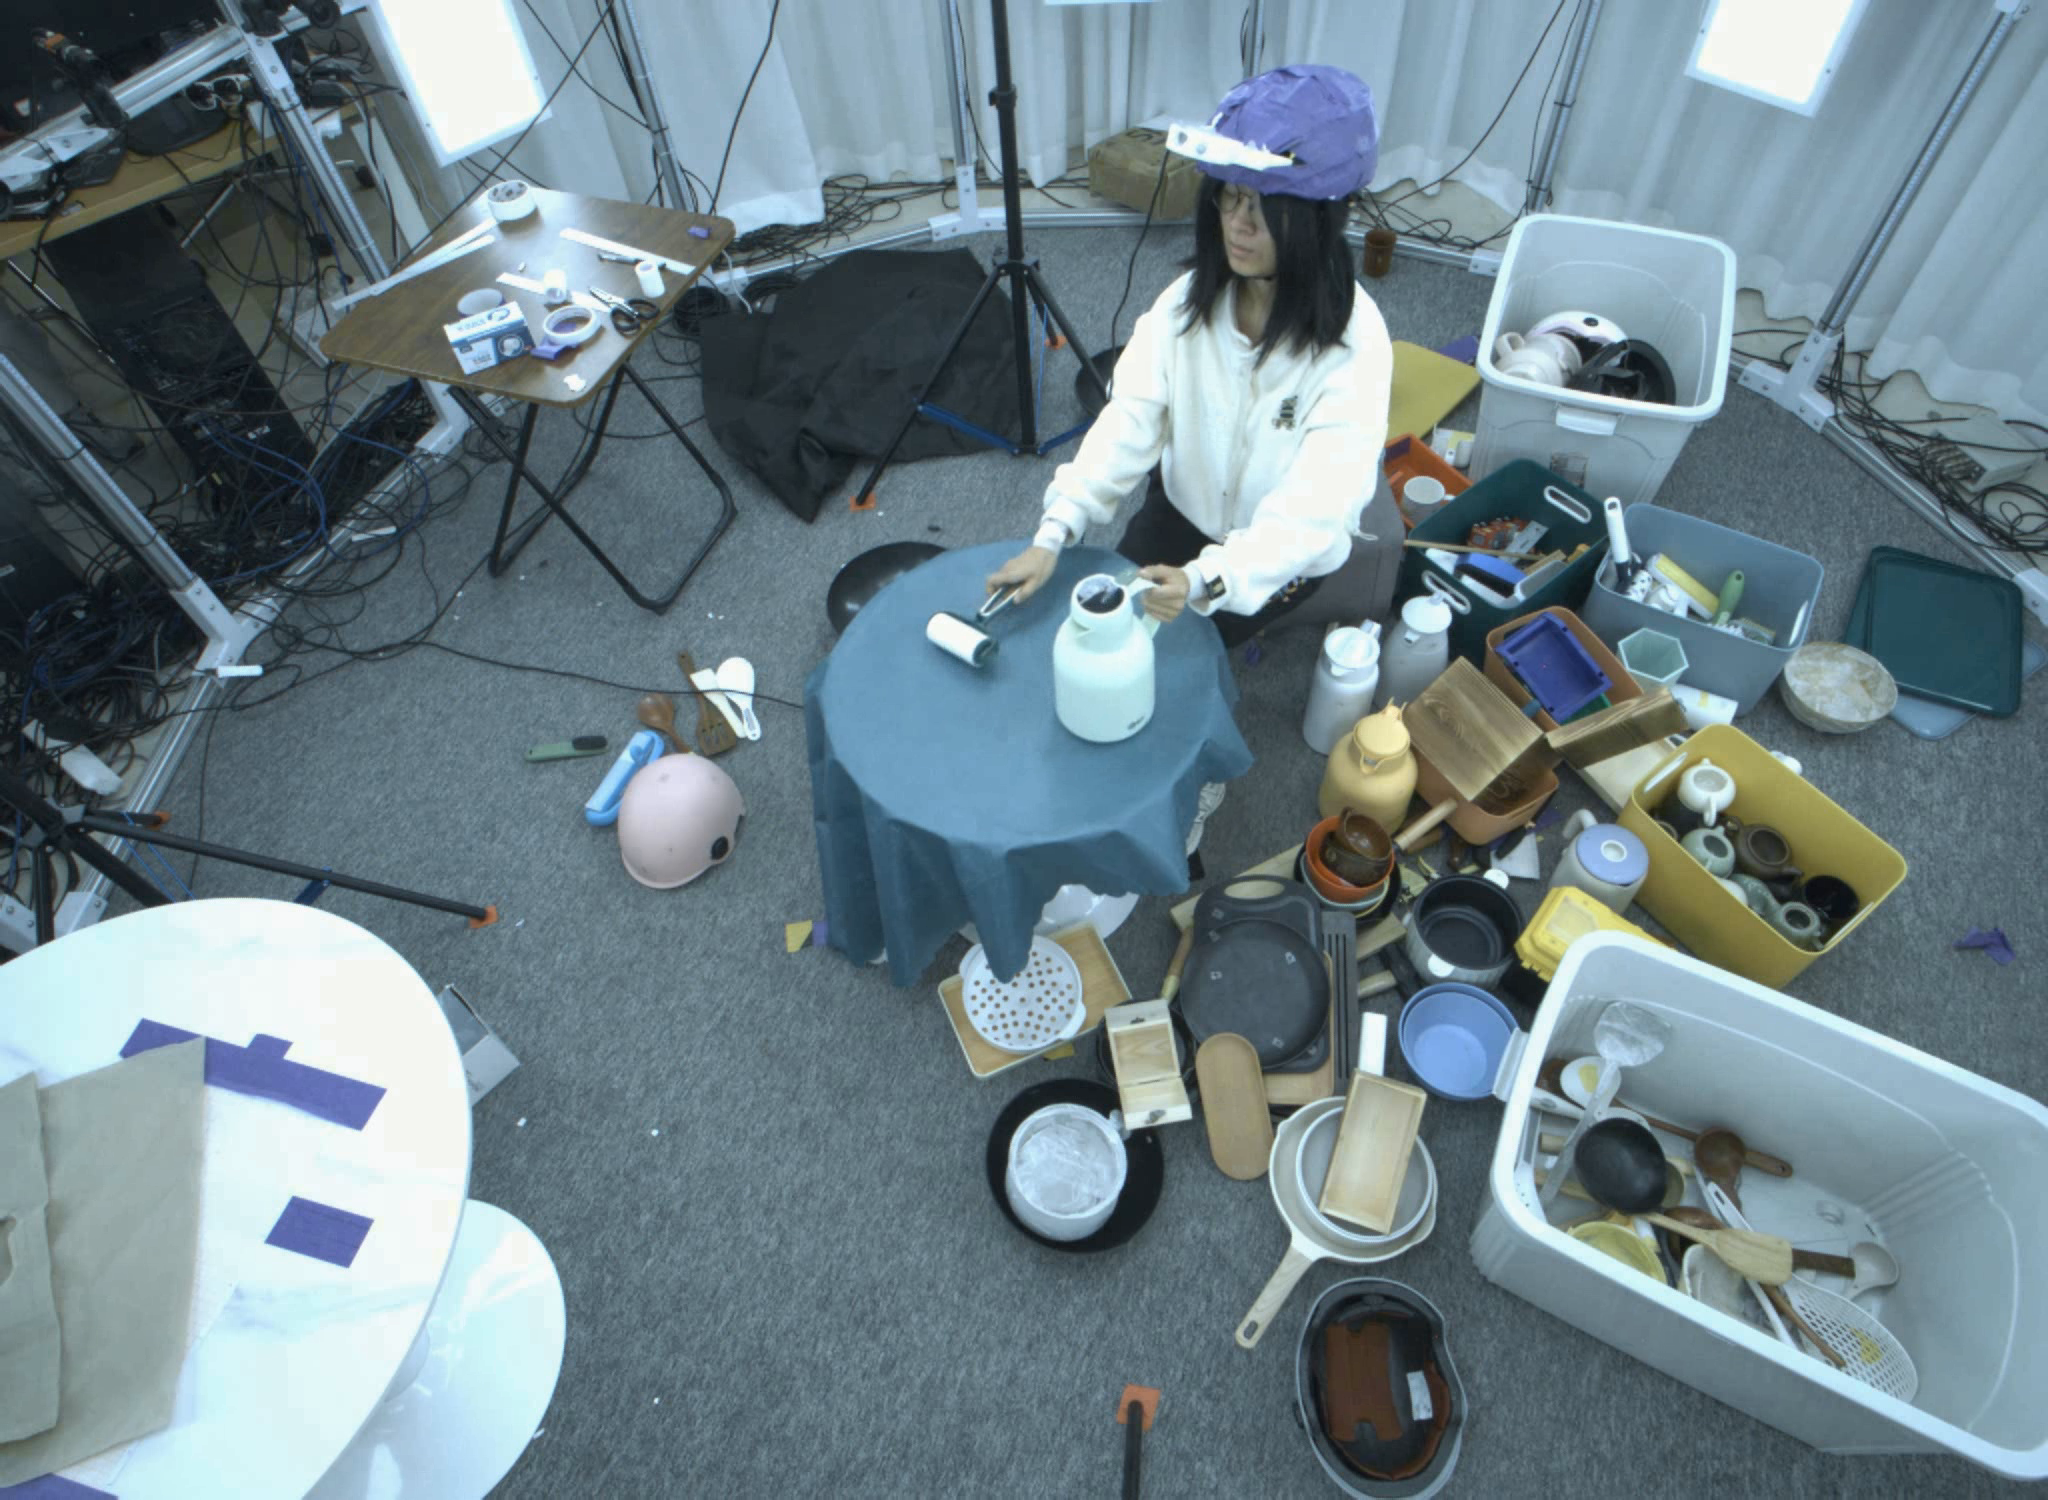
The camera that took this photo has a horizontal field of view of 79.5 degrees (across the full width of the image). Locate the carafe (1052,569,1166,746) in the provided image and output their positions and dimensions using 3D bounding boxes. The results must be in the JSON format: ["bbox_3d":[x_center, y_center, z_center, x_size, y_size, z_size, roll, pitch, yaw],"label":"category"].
[{"bbox_3d":[0.121,-0.137,1.725,0.188,0.259,0.141,-36,59,-22],"label":"carafe"}]

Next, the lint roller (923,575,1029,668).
[{"bbox_3d":[-0.059,-0.216,1.887,0.131,0.049,0.180,34,76,29],"label":"lint roller"}]
